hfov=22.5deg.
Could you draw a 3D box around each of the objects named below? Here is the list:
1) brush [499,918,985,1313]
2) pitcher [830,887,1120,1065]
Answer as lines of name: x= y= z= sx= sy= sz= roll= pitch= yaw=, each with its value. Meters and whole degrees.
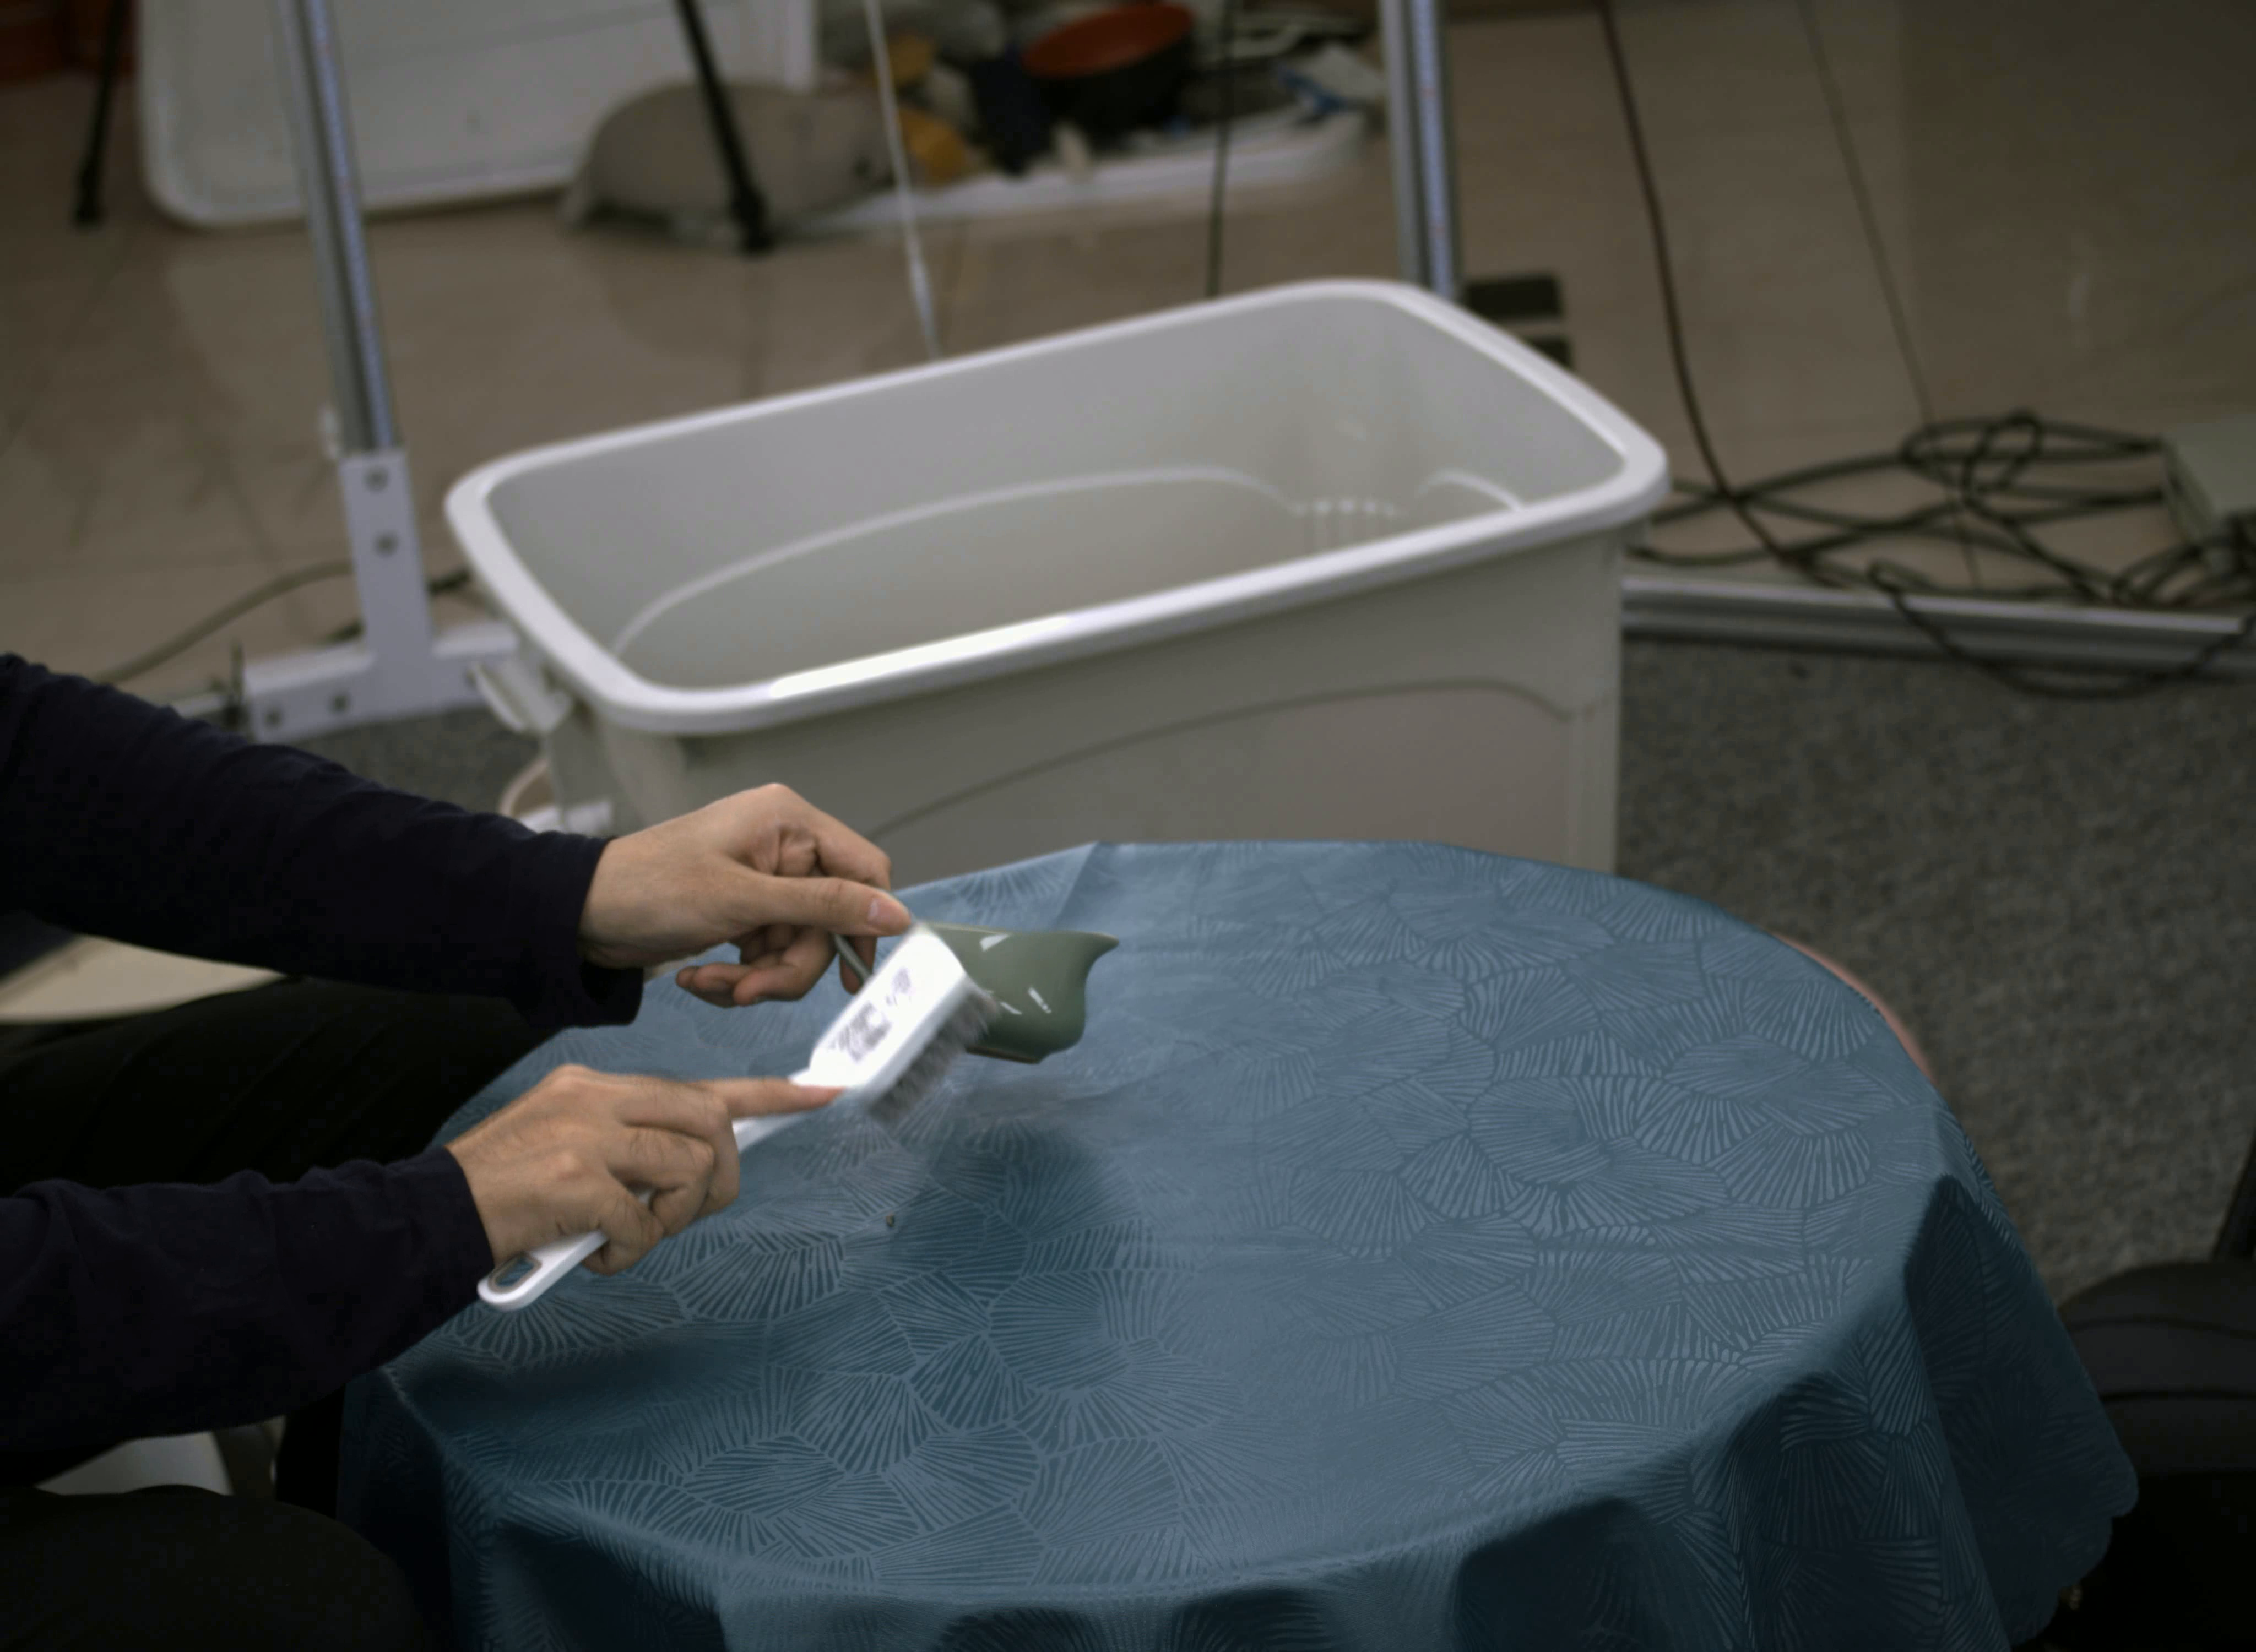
brush: x=-0.140 y=0.116 z=2.083 sx=0.034 sy=0.051 sz=0.241 roll=26 pitch=51 yaw=31
pitcher: x=-0.062 y=0.059 z=2.192 sx=0.112 sy=0.056 sz=0.084 roll=11 pitch=-7 yaw=-6
